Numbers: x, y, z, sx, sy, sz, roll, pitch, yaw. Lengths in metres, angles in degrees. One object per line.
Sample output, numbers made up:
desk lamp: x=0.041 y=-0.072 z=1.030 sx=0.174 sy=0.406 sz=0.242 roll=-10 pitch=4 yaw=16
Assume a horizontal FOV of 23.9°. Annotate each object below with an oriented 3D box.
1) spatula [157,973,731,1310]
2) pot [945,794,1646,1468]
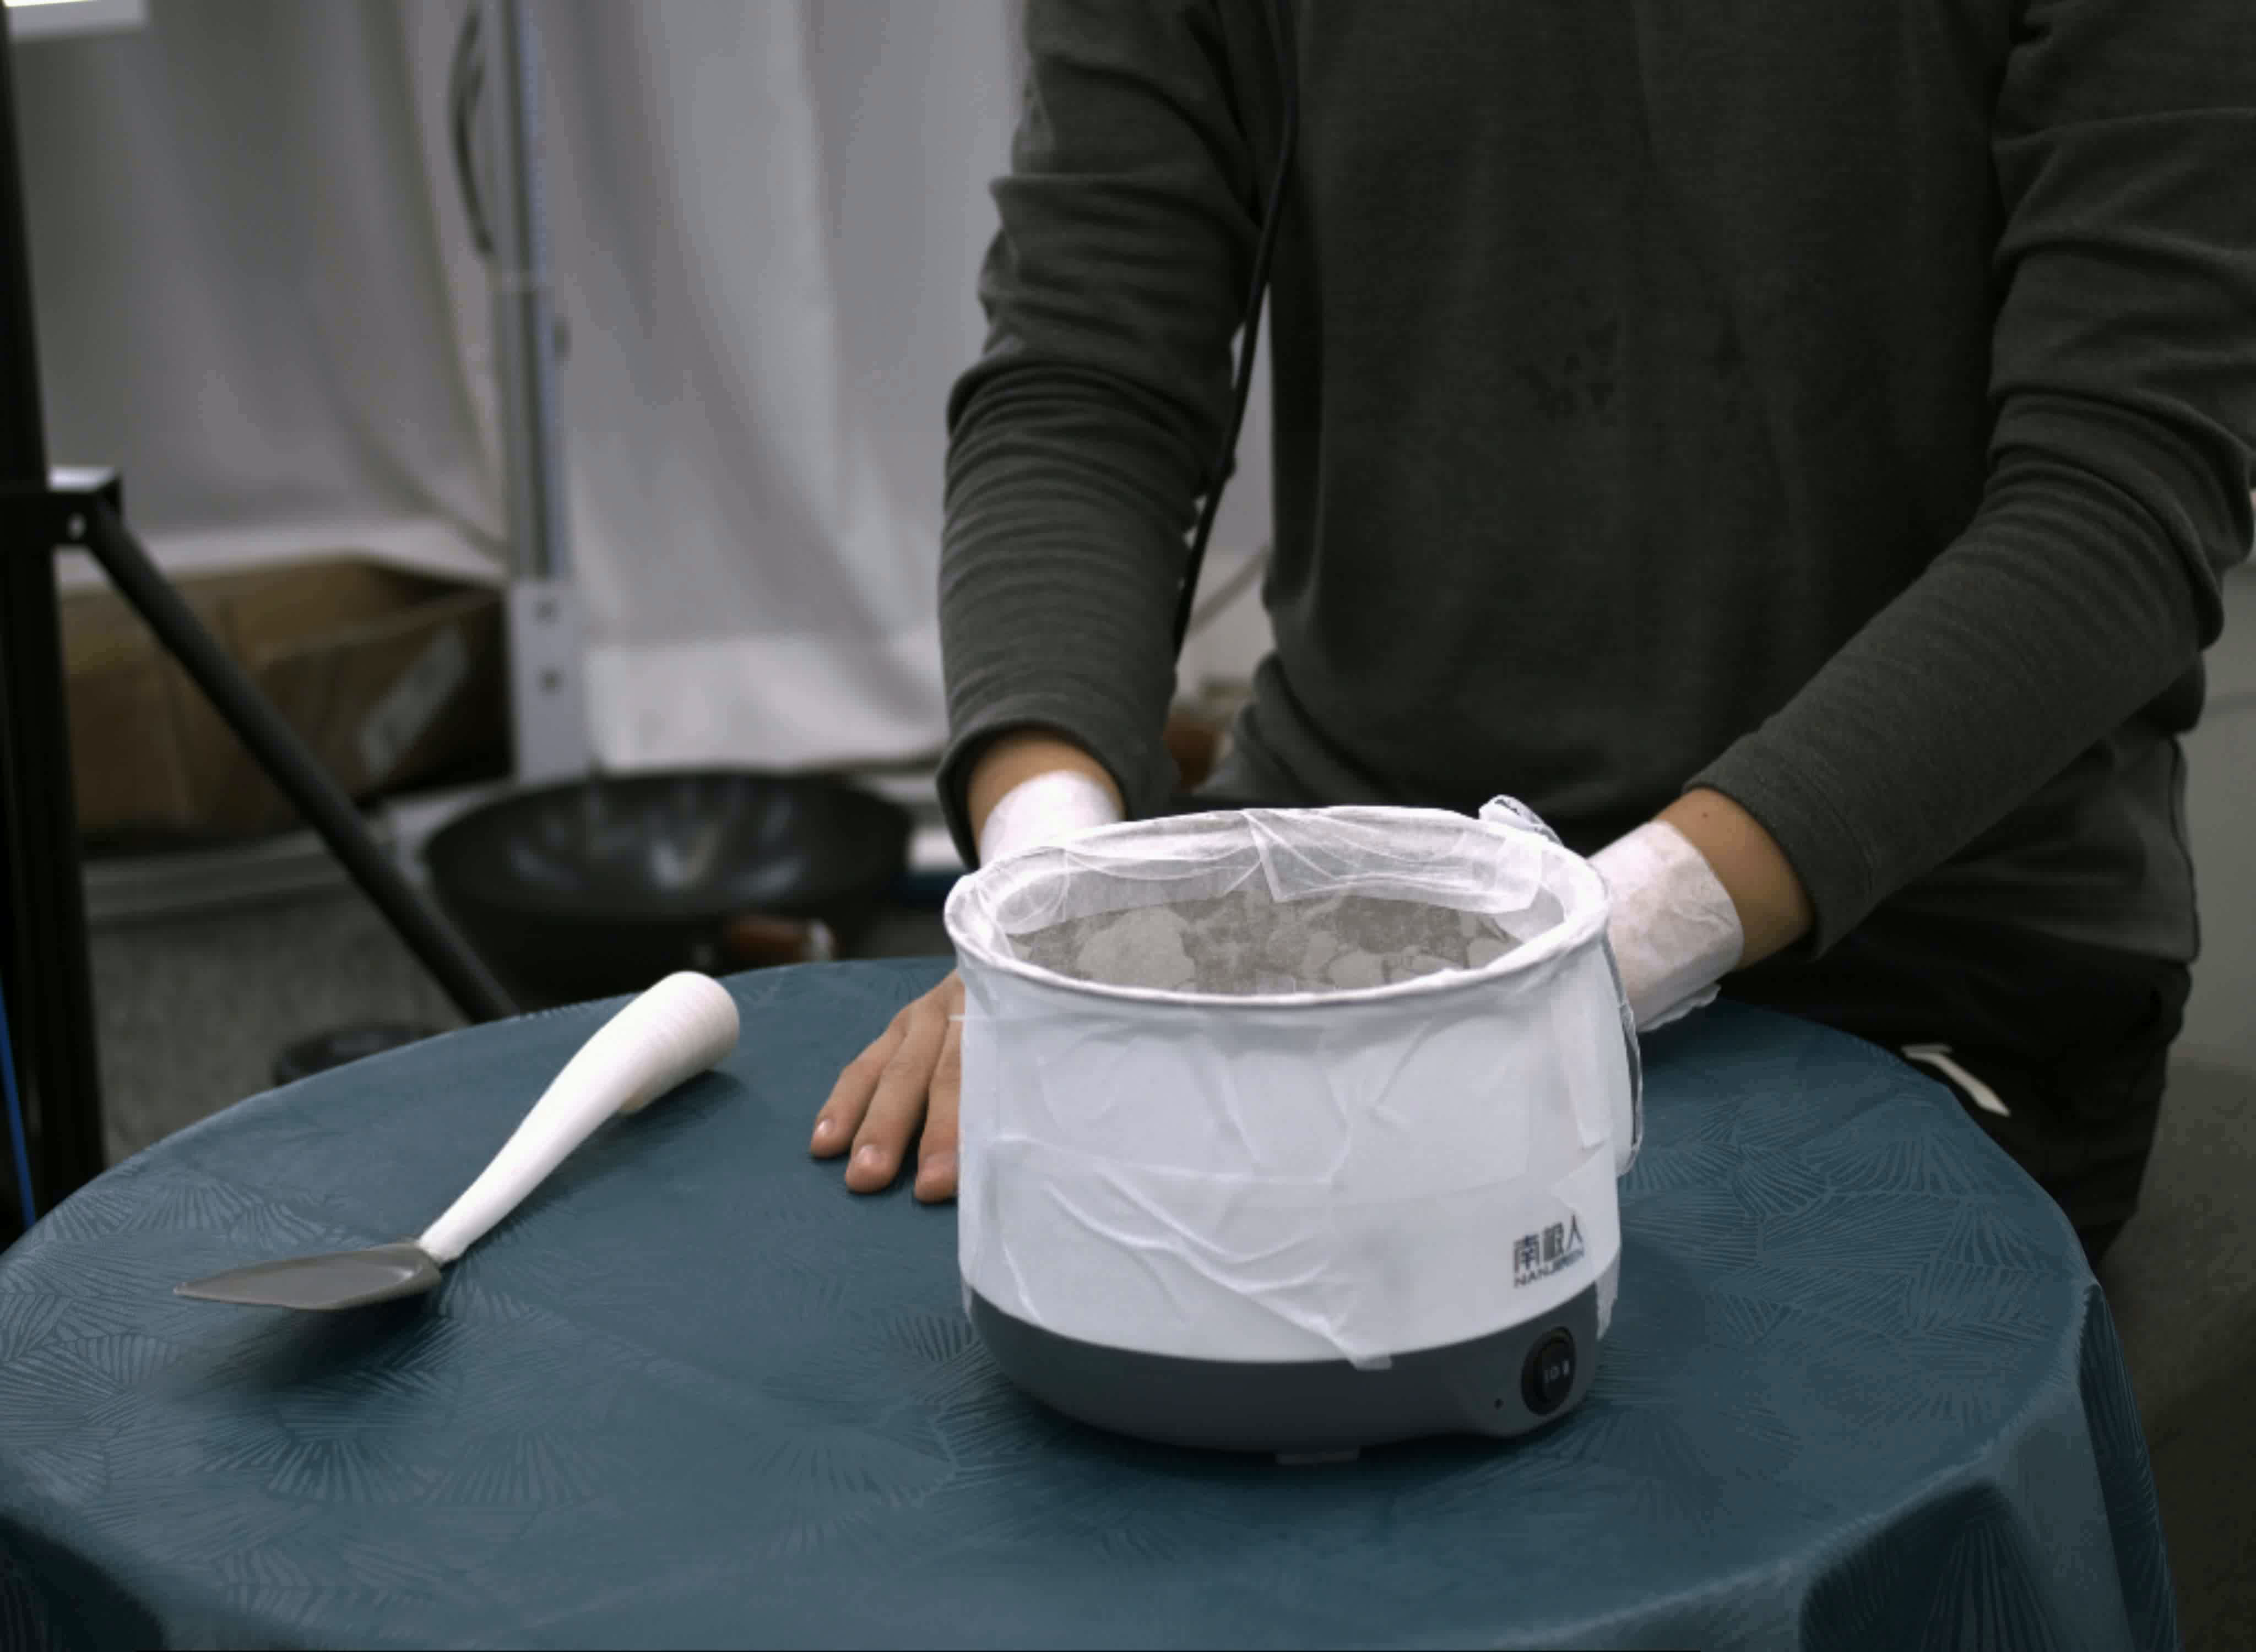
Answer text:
spatula: x=-0.189 y=0.099 z=1.561 sx=0.059 sy=0.032 sz=0.284 roll=7 pitch=18 yaw=20
pot: x=0.060 y=0.073 z=1.424 sx=0.182 sy=0.136 sz=0.228 roll=11 pitch=20 yaw=39
